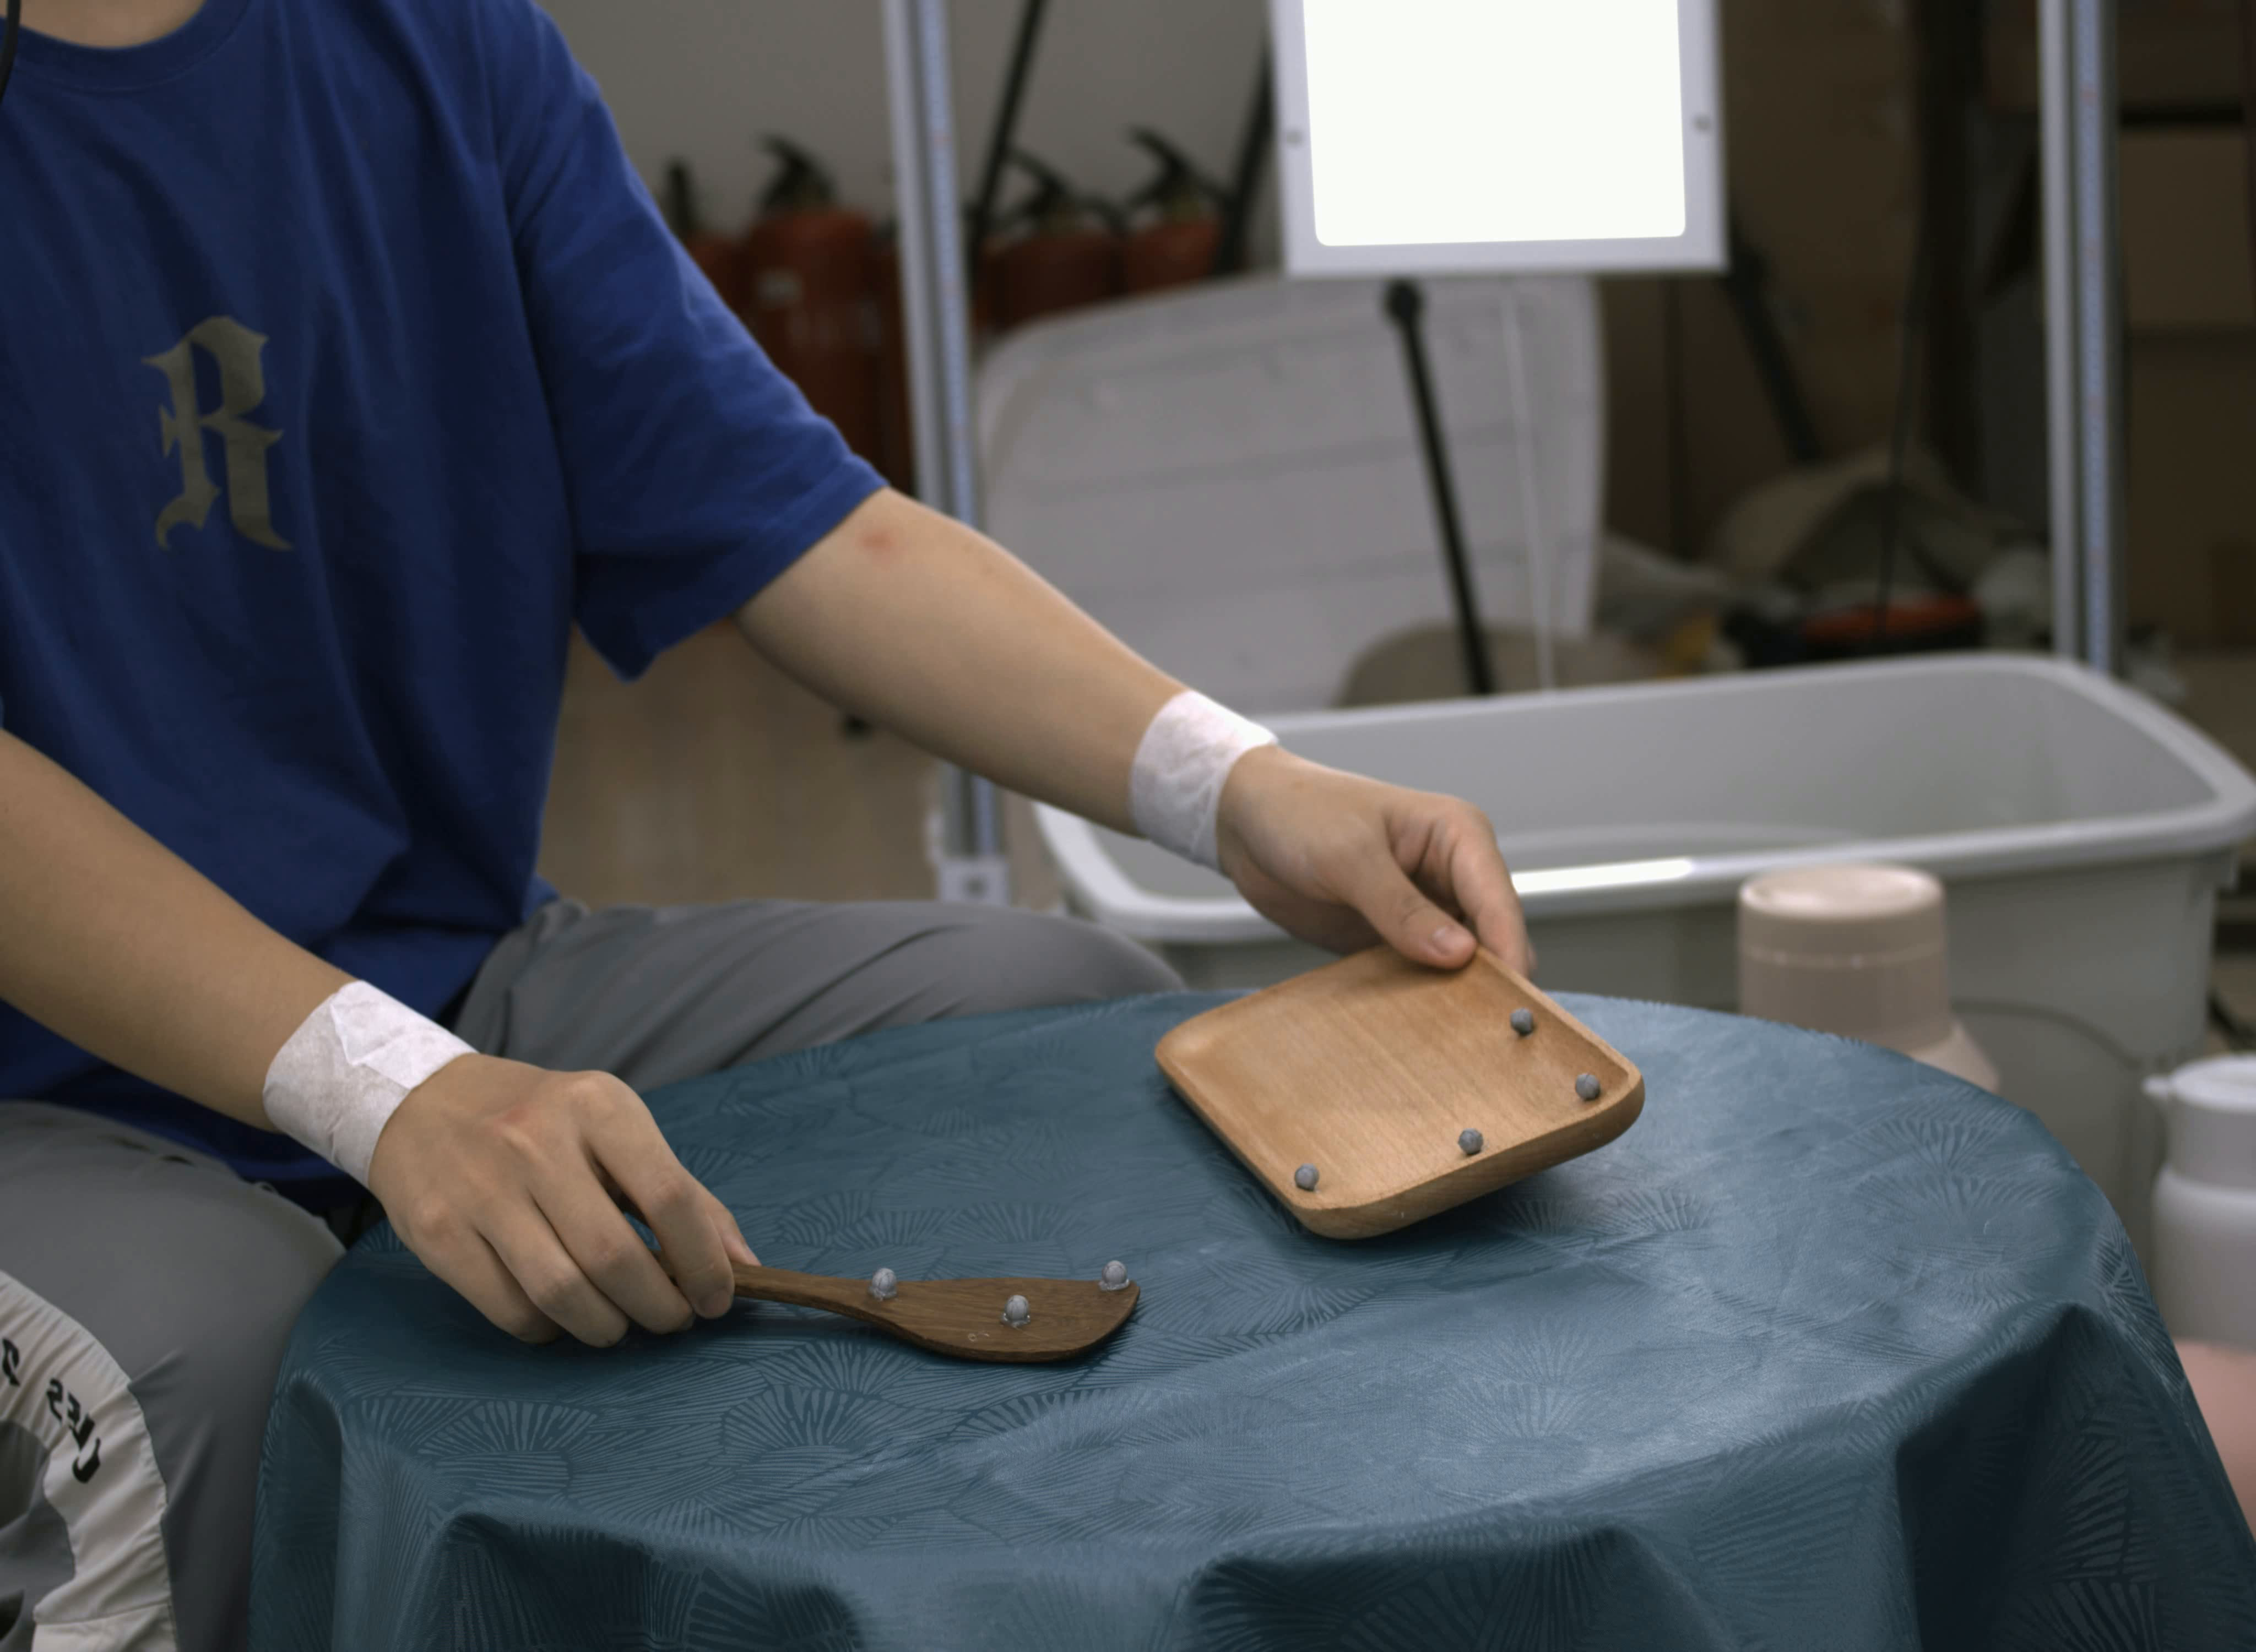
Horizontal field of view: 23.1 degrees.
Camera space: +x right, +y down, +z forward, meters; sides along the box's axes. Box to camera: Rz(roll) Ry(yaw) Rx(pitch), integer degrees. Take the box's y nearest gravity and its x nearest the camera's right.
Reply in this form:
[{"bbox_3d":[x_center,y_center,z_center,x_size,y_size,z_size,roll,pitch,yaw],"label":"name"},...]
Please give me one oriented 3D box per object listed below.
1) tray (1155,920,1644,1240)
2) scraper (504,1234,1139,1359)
[{"bbox_3d":[0.092,0.087,1.927,0.129,0.023,0.252,-19,15,-7],"label":"tray"},{"bbox_3d":[-0.102,0.150,1.787,0.213,0.011,0.074,6,14,18],"label":"scraper"}]
